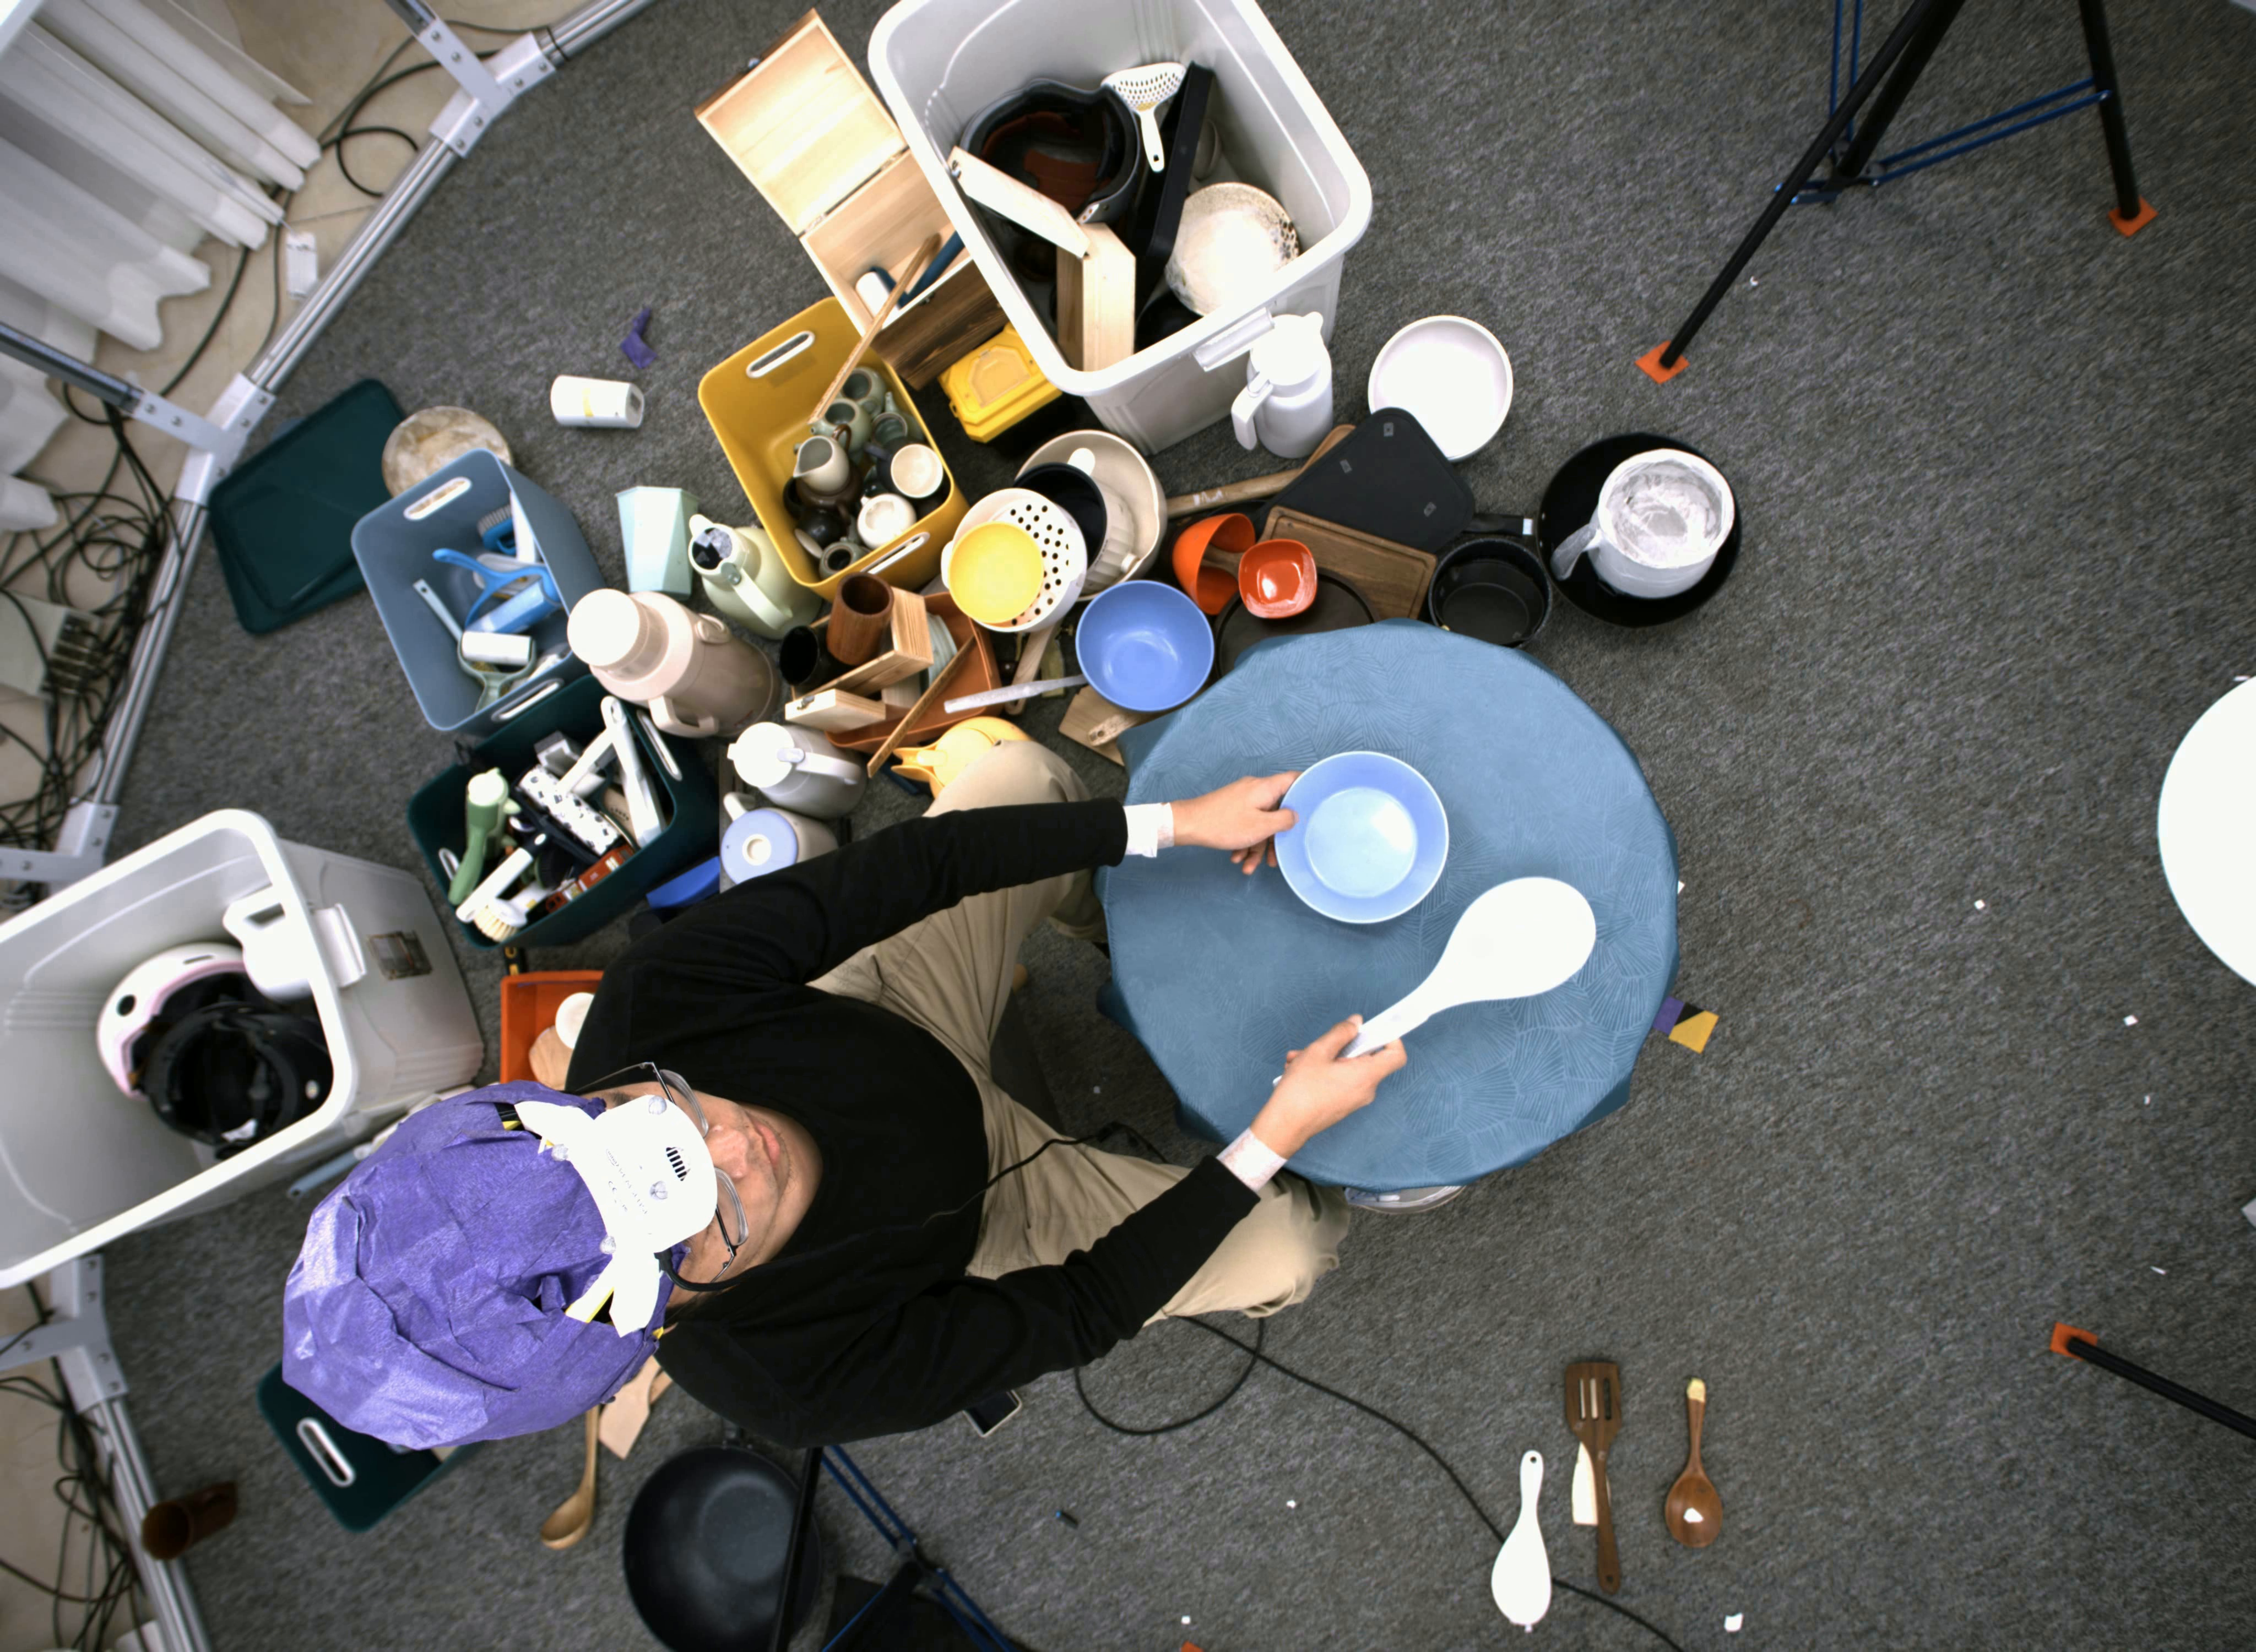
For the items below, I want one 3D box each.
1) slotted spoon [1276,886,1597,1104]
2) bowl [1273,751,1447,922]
[{"bbox_3d":[0.299,0.172,1.352,0.350,0.046,0.133,-28,40,0],"label":"slotted spoon"},{"bbox_3d":[0.240,0.013,1.433,0.177,0.070,0.175,-1,86,11],"label":"bowl"}]
